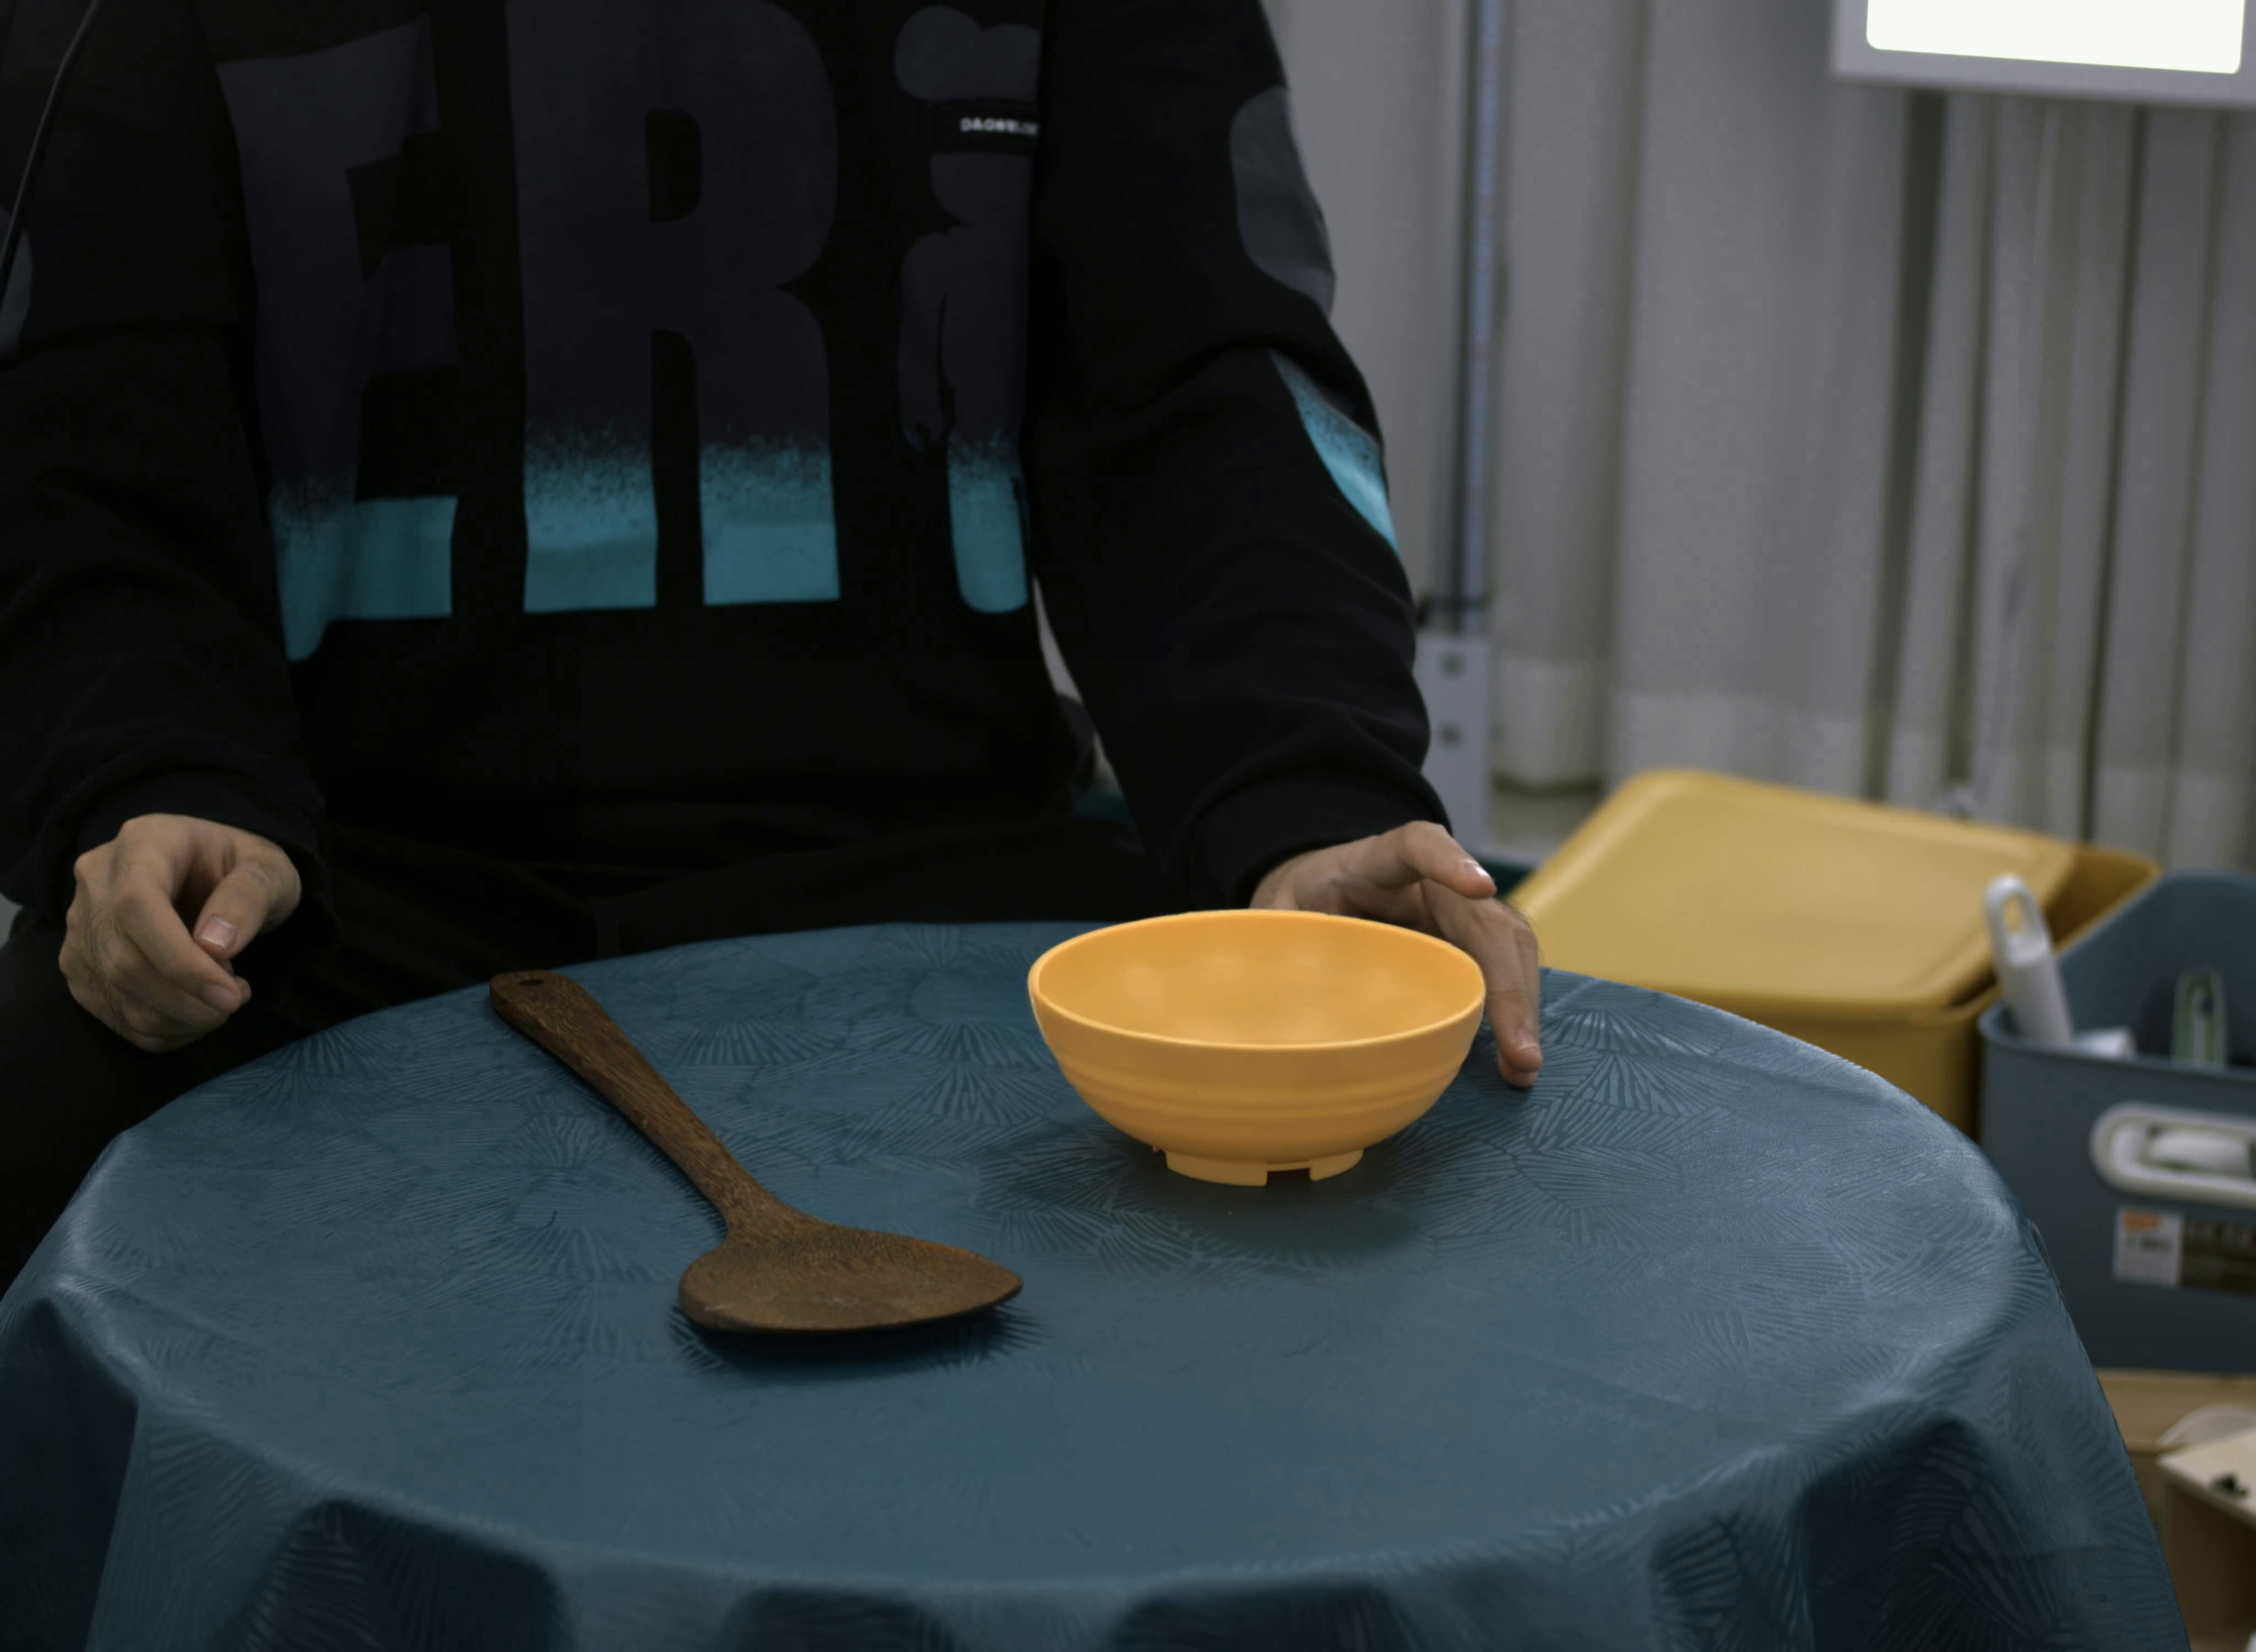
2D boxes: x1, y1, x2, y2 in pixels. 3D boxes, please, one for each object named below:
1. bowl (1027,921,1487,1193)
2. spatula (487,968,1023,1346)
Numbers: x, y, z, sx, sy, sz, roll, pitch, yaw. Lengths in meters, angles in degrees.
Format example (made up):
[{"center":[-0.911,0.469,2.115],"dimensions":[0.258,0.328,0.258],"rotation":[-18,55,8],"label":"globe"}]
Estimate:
[{"center":[0.039,0.077,1.653],"dimensions":[0.145,0.060,0.144],"rotation":[3,14,0],"label":"bowl"},{"center":[-0.139,0.097,1.649],"dimensions":[0.096,0.016,0.381],"rotation":[-5,17,-22],"label":"spatula"}]
